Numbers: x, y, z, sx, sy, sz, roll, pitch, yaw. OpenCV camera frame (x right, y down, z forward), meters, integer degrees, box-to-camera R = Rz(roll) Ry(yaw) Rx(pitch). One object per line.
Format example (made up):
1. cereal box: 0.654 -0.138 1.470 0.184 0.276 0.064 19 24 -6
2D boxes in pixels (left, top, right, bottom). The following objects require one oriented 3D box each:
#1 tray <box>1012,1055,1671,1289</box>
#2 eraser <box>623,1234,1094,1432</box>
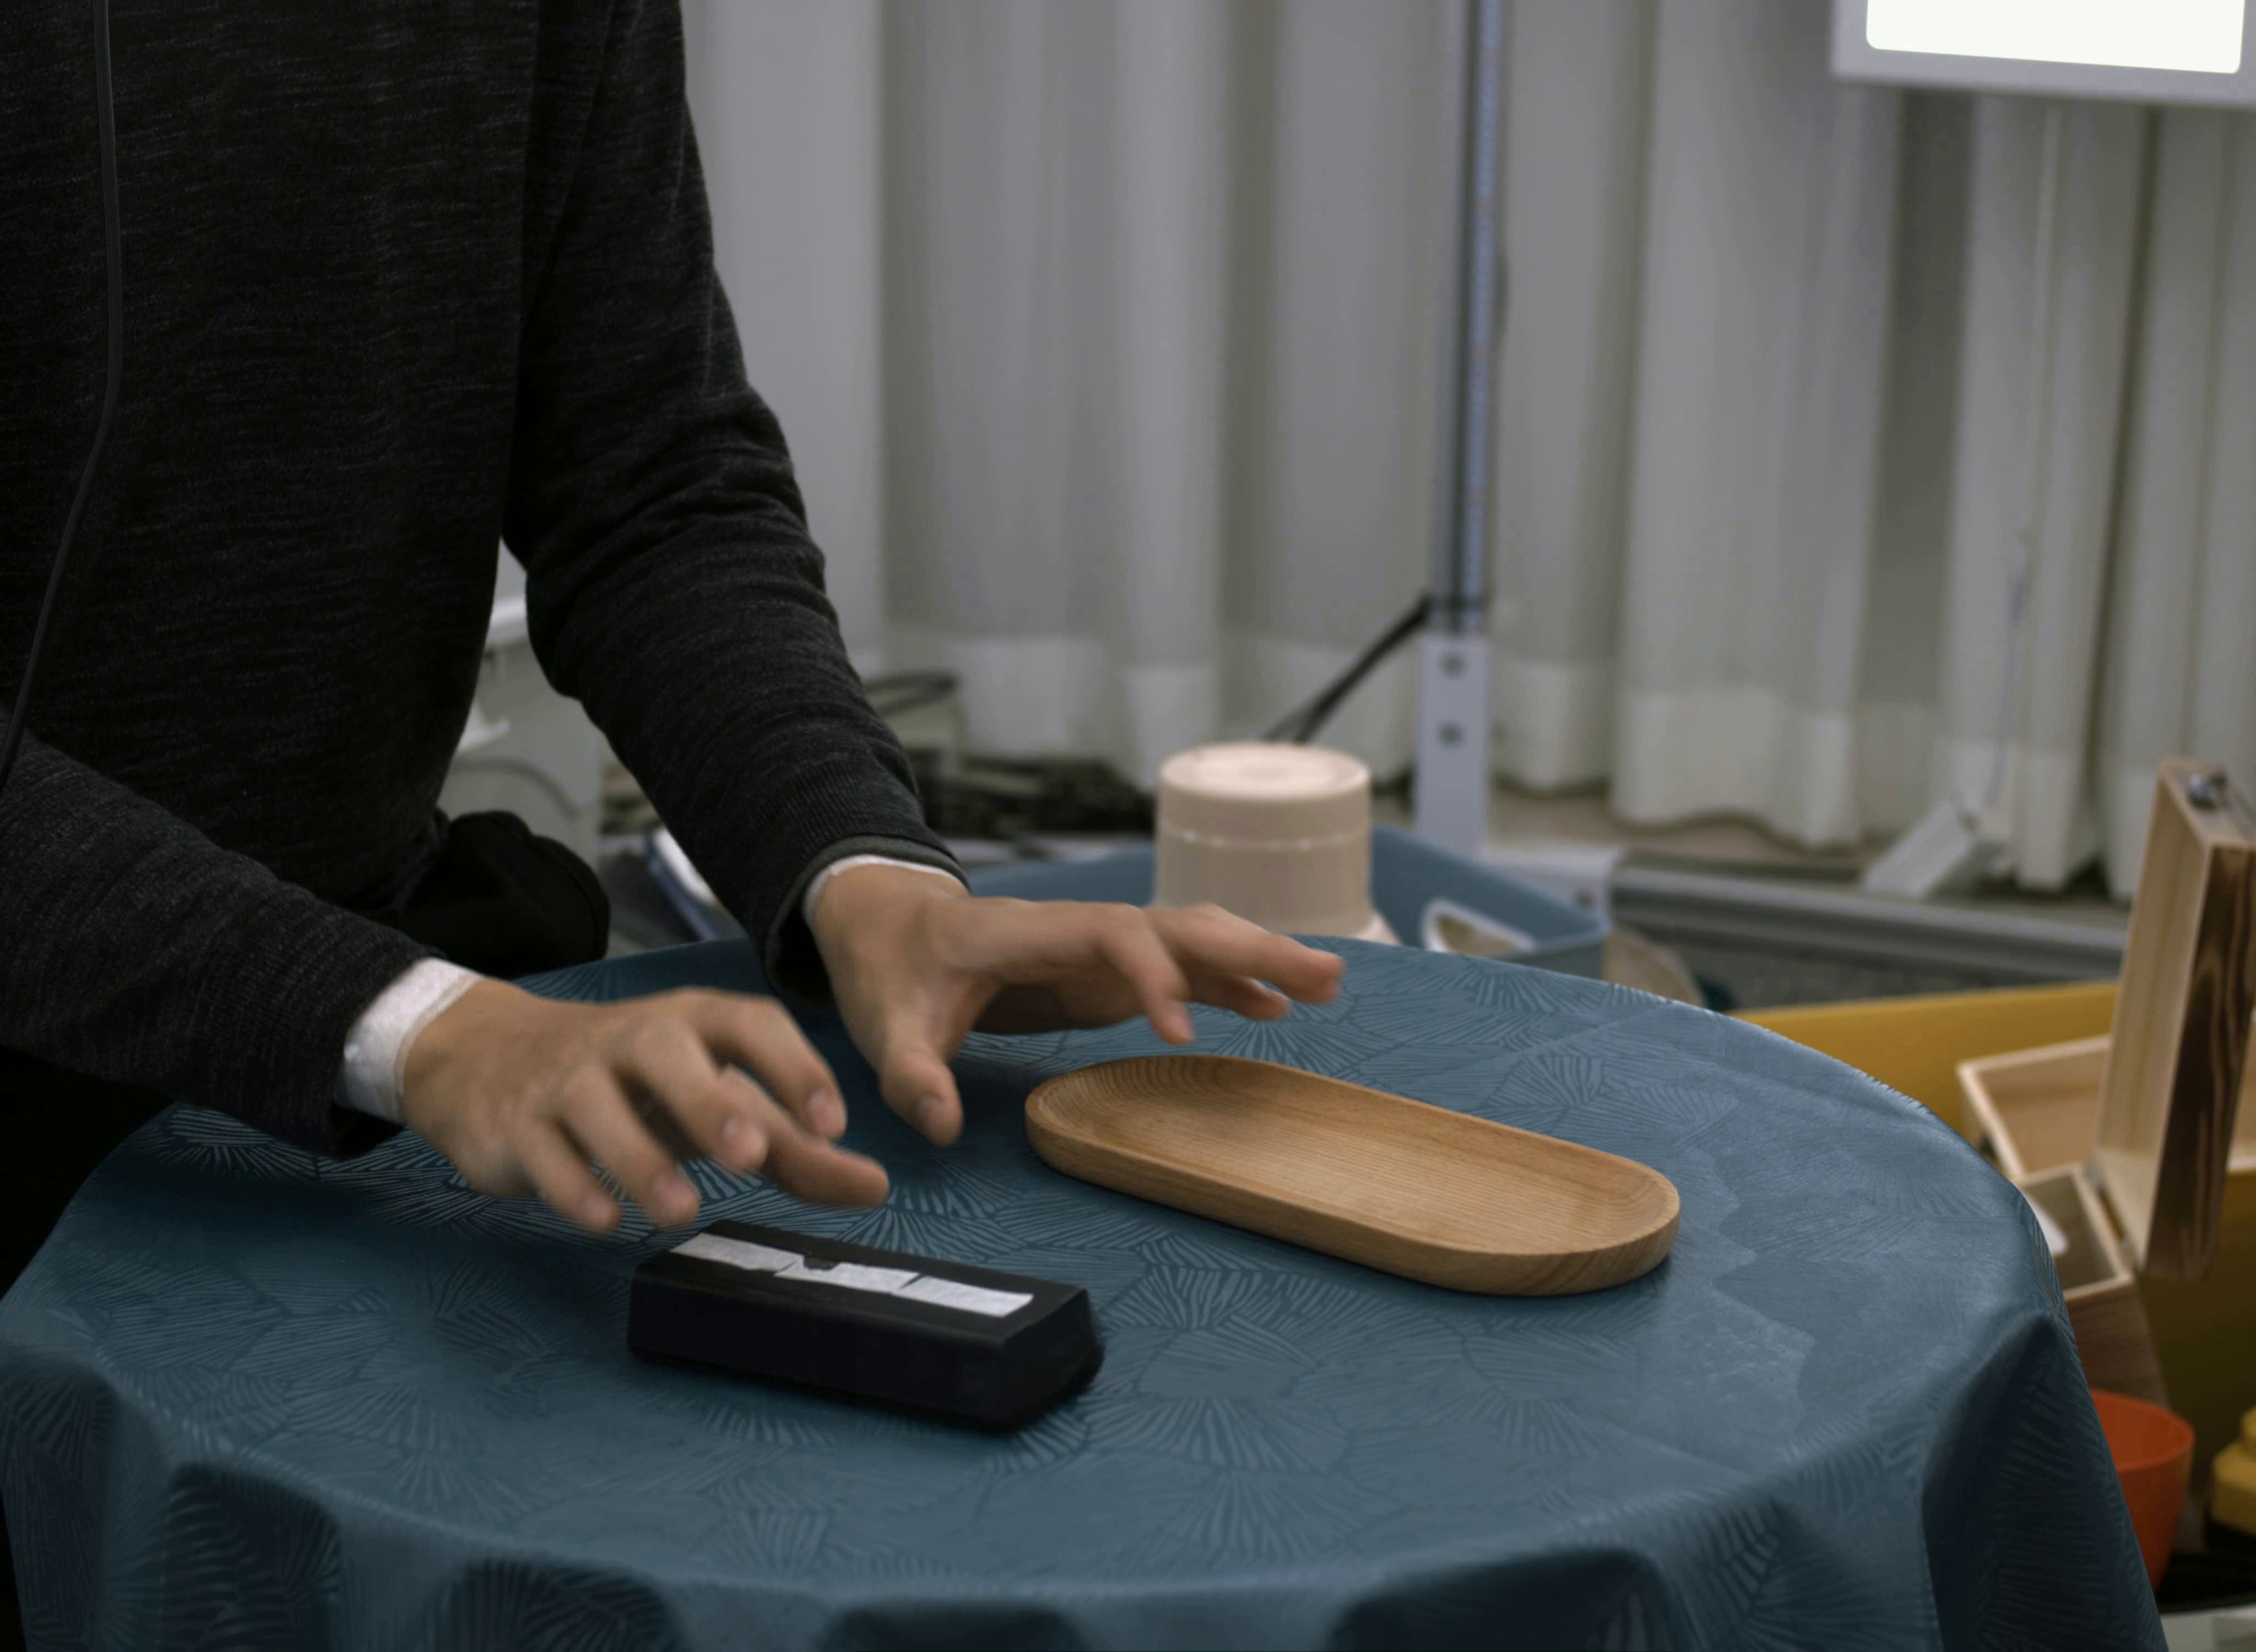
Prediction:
1. tray: 0.063 0.105 1.619 0.228 0.020 0.102 11 17 39
2. eraser: -0.074 0.140 1.466 0.124 0.030 0.053 7 15 26
